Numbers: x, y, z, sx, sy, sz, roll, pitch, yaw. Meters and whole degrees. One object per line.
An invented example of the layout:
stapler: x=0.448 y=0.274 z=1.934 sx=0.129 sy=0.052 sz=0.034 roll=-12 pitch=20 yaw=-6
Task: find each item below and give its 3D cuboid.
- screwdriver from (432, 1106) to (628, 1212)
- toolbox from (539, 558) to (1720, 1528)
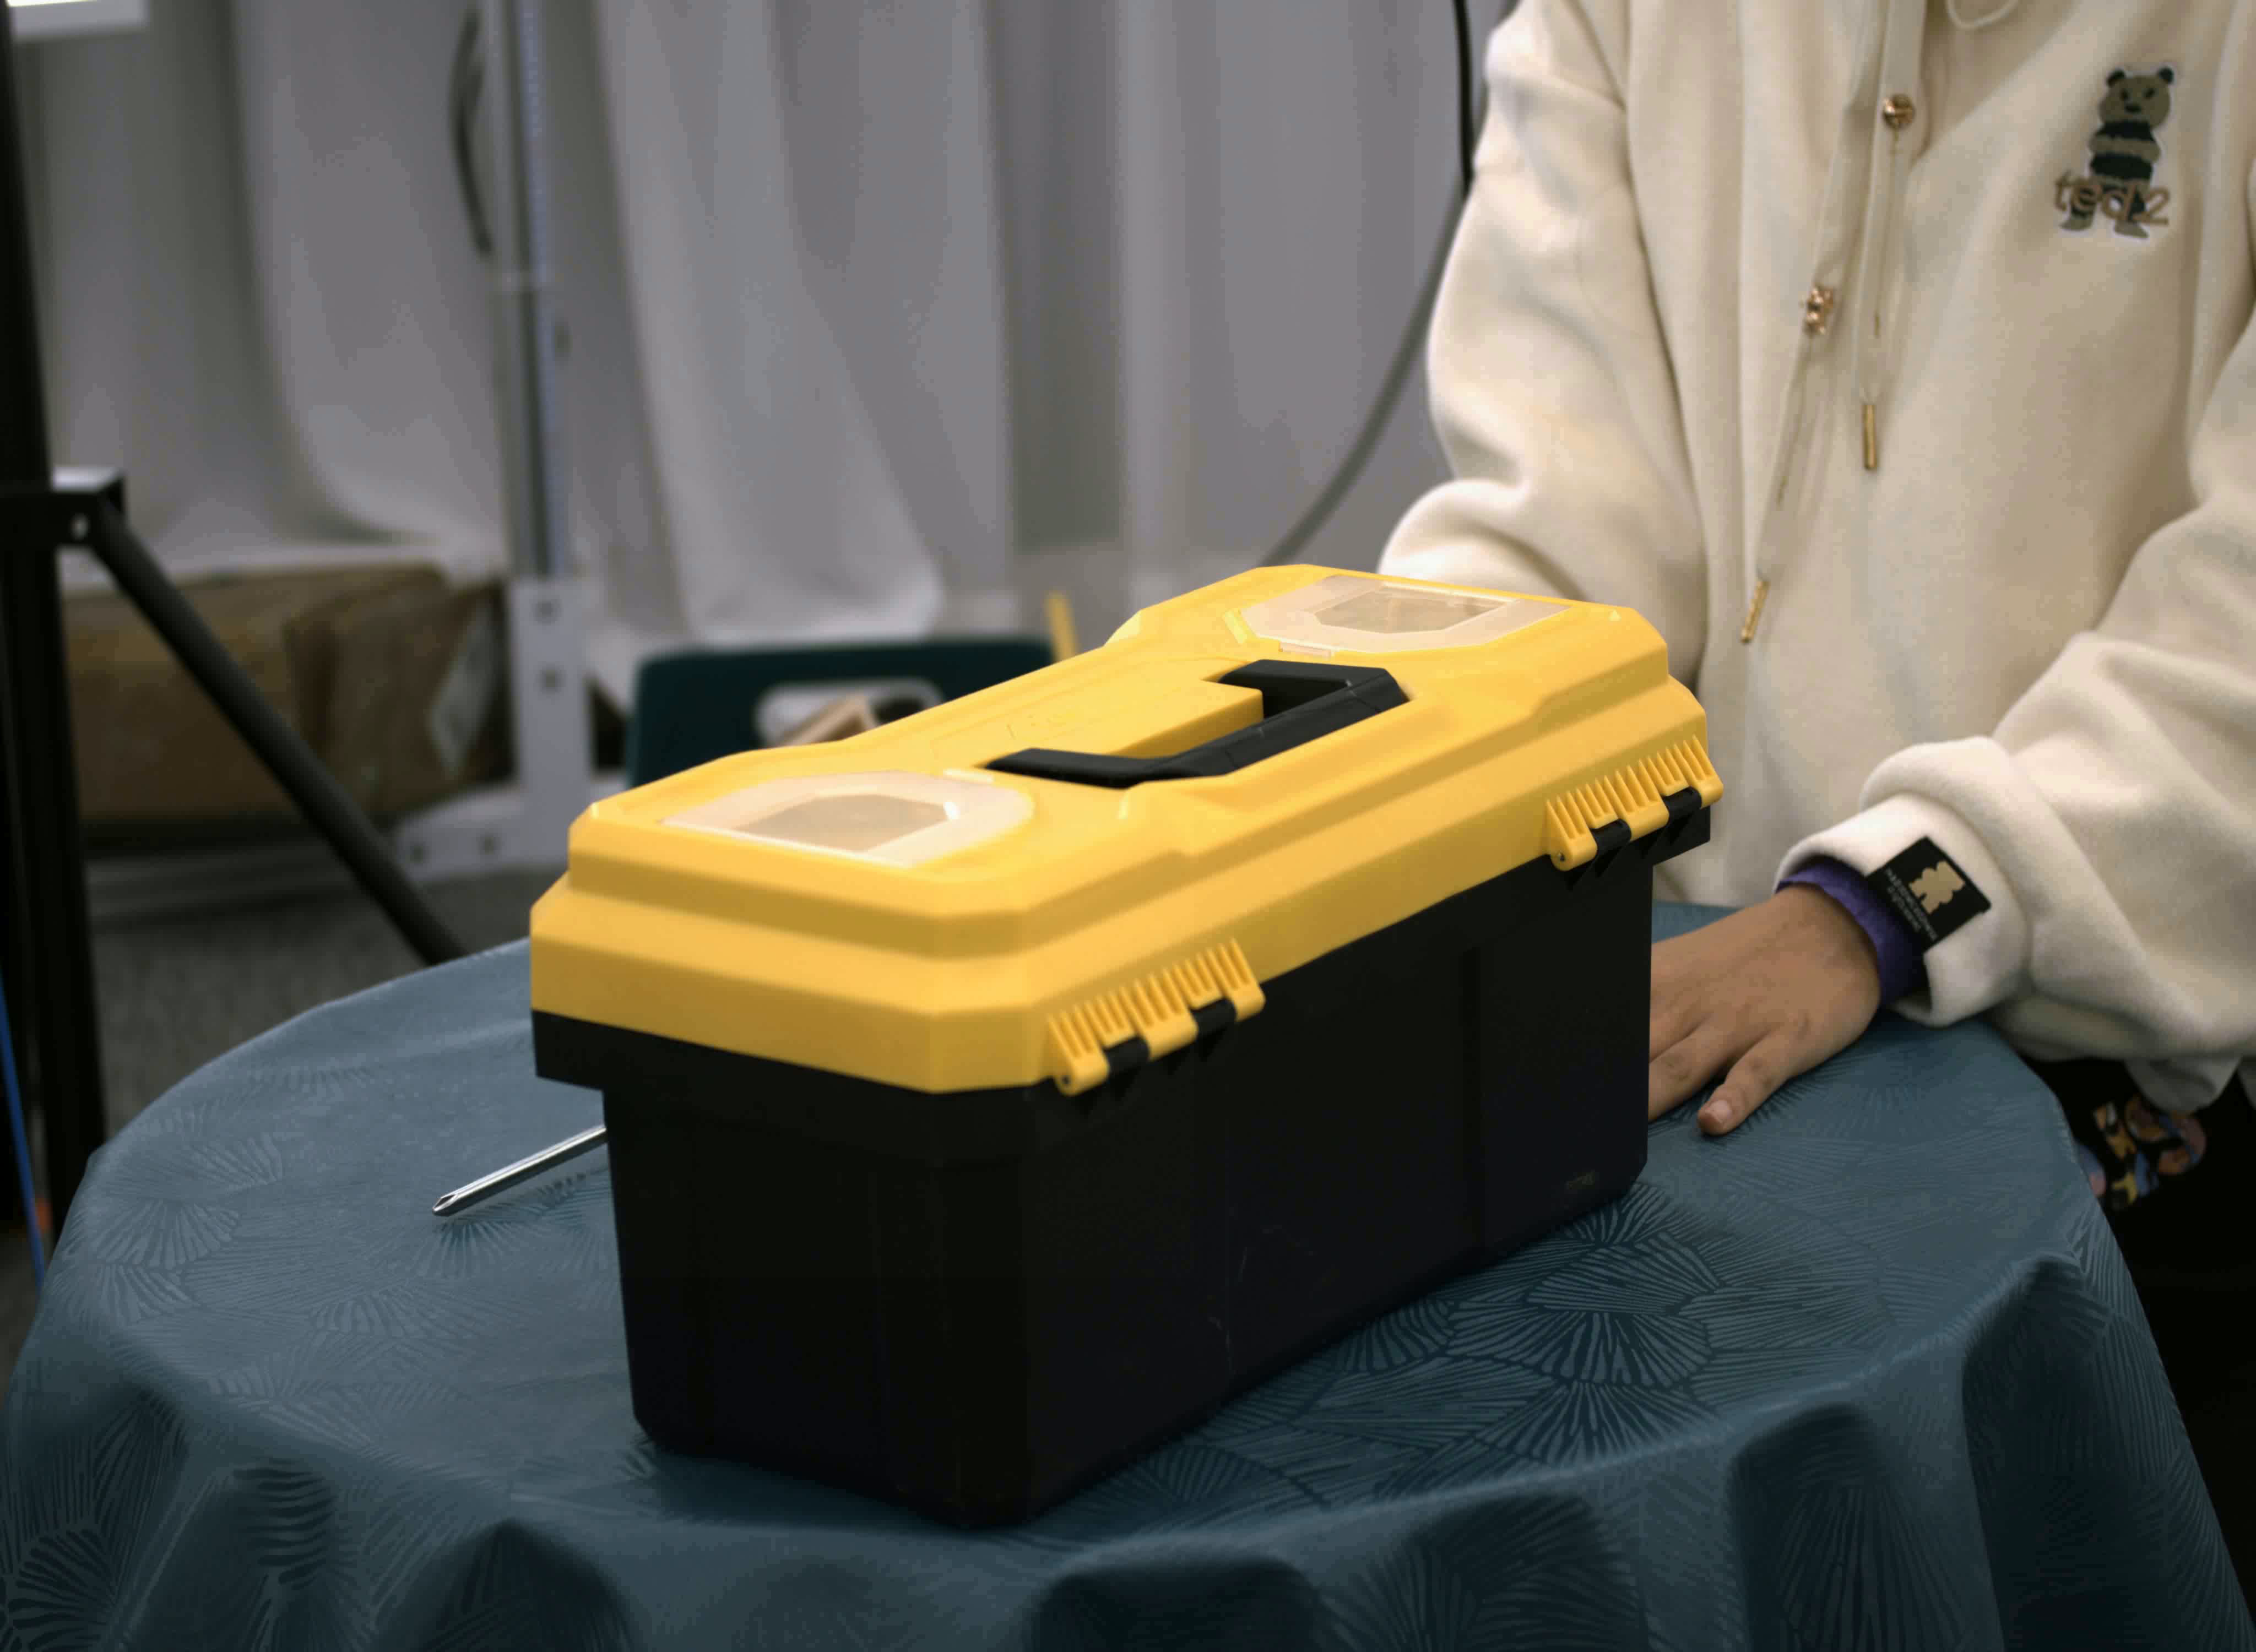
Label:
screwdriver: x=-0.141 y=0.079 z=1.624 sx=0.032 sy=0.031 sz=0.192 roll=12 pitch=23 yaw=41
toolbox: x=0.008 y=0.049 z=1.445 sx=0.185 sy=0.173 sz=0.344 roll=10 pitch=20 yaw=37
